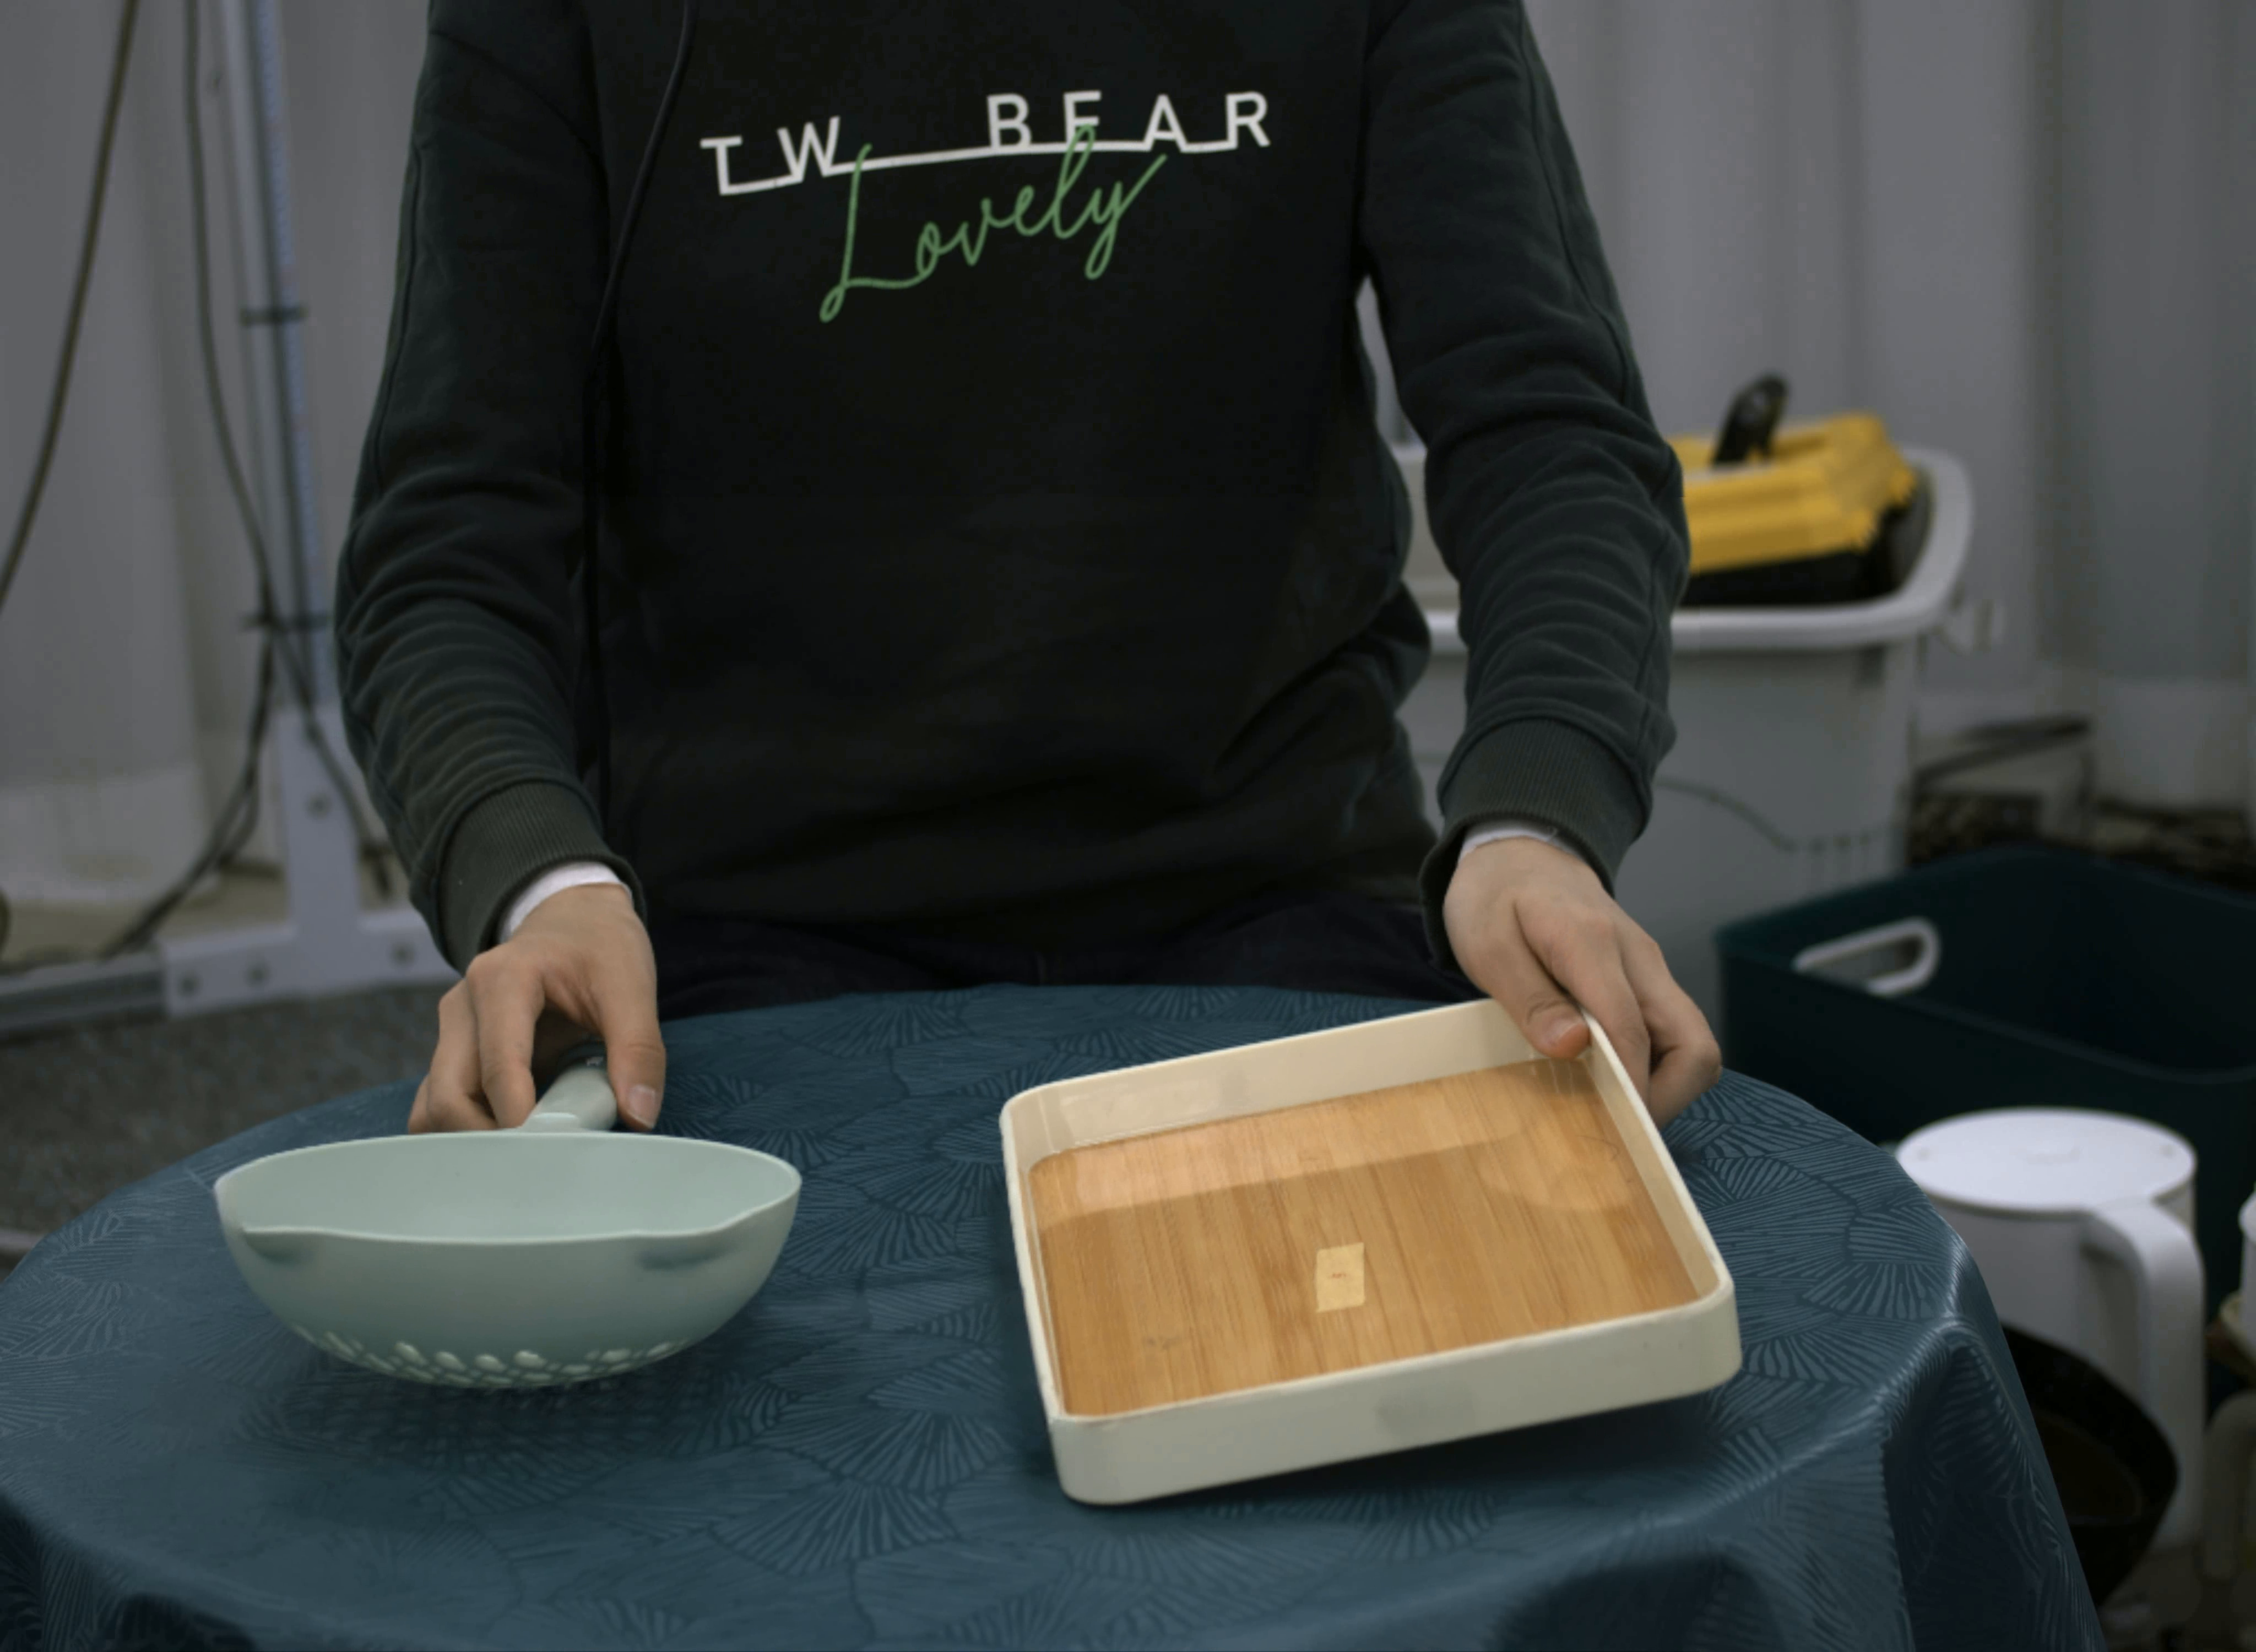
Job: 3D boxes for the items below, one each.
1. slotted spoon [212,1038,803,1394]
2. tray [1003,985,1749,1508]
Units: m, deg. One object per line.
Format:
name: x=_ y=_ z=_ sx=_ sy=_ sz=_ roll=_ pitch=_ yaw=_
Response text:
slotted spoon: x=-0.175 y=0.103 z=1.668 sx=0.169 sy=0.075 sz=0.361 roll=1 pitch=15 yaw=1
tray: x=0.064 y=0.117 z=1.596 sx=0.191 sy=0.027 sz=0.302 roll=-11 pitch=16 yaw=-1
